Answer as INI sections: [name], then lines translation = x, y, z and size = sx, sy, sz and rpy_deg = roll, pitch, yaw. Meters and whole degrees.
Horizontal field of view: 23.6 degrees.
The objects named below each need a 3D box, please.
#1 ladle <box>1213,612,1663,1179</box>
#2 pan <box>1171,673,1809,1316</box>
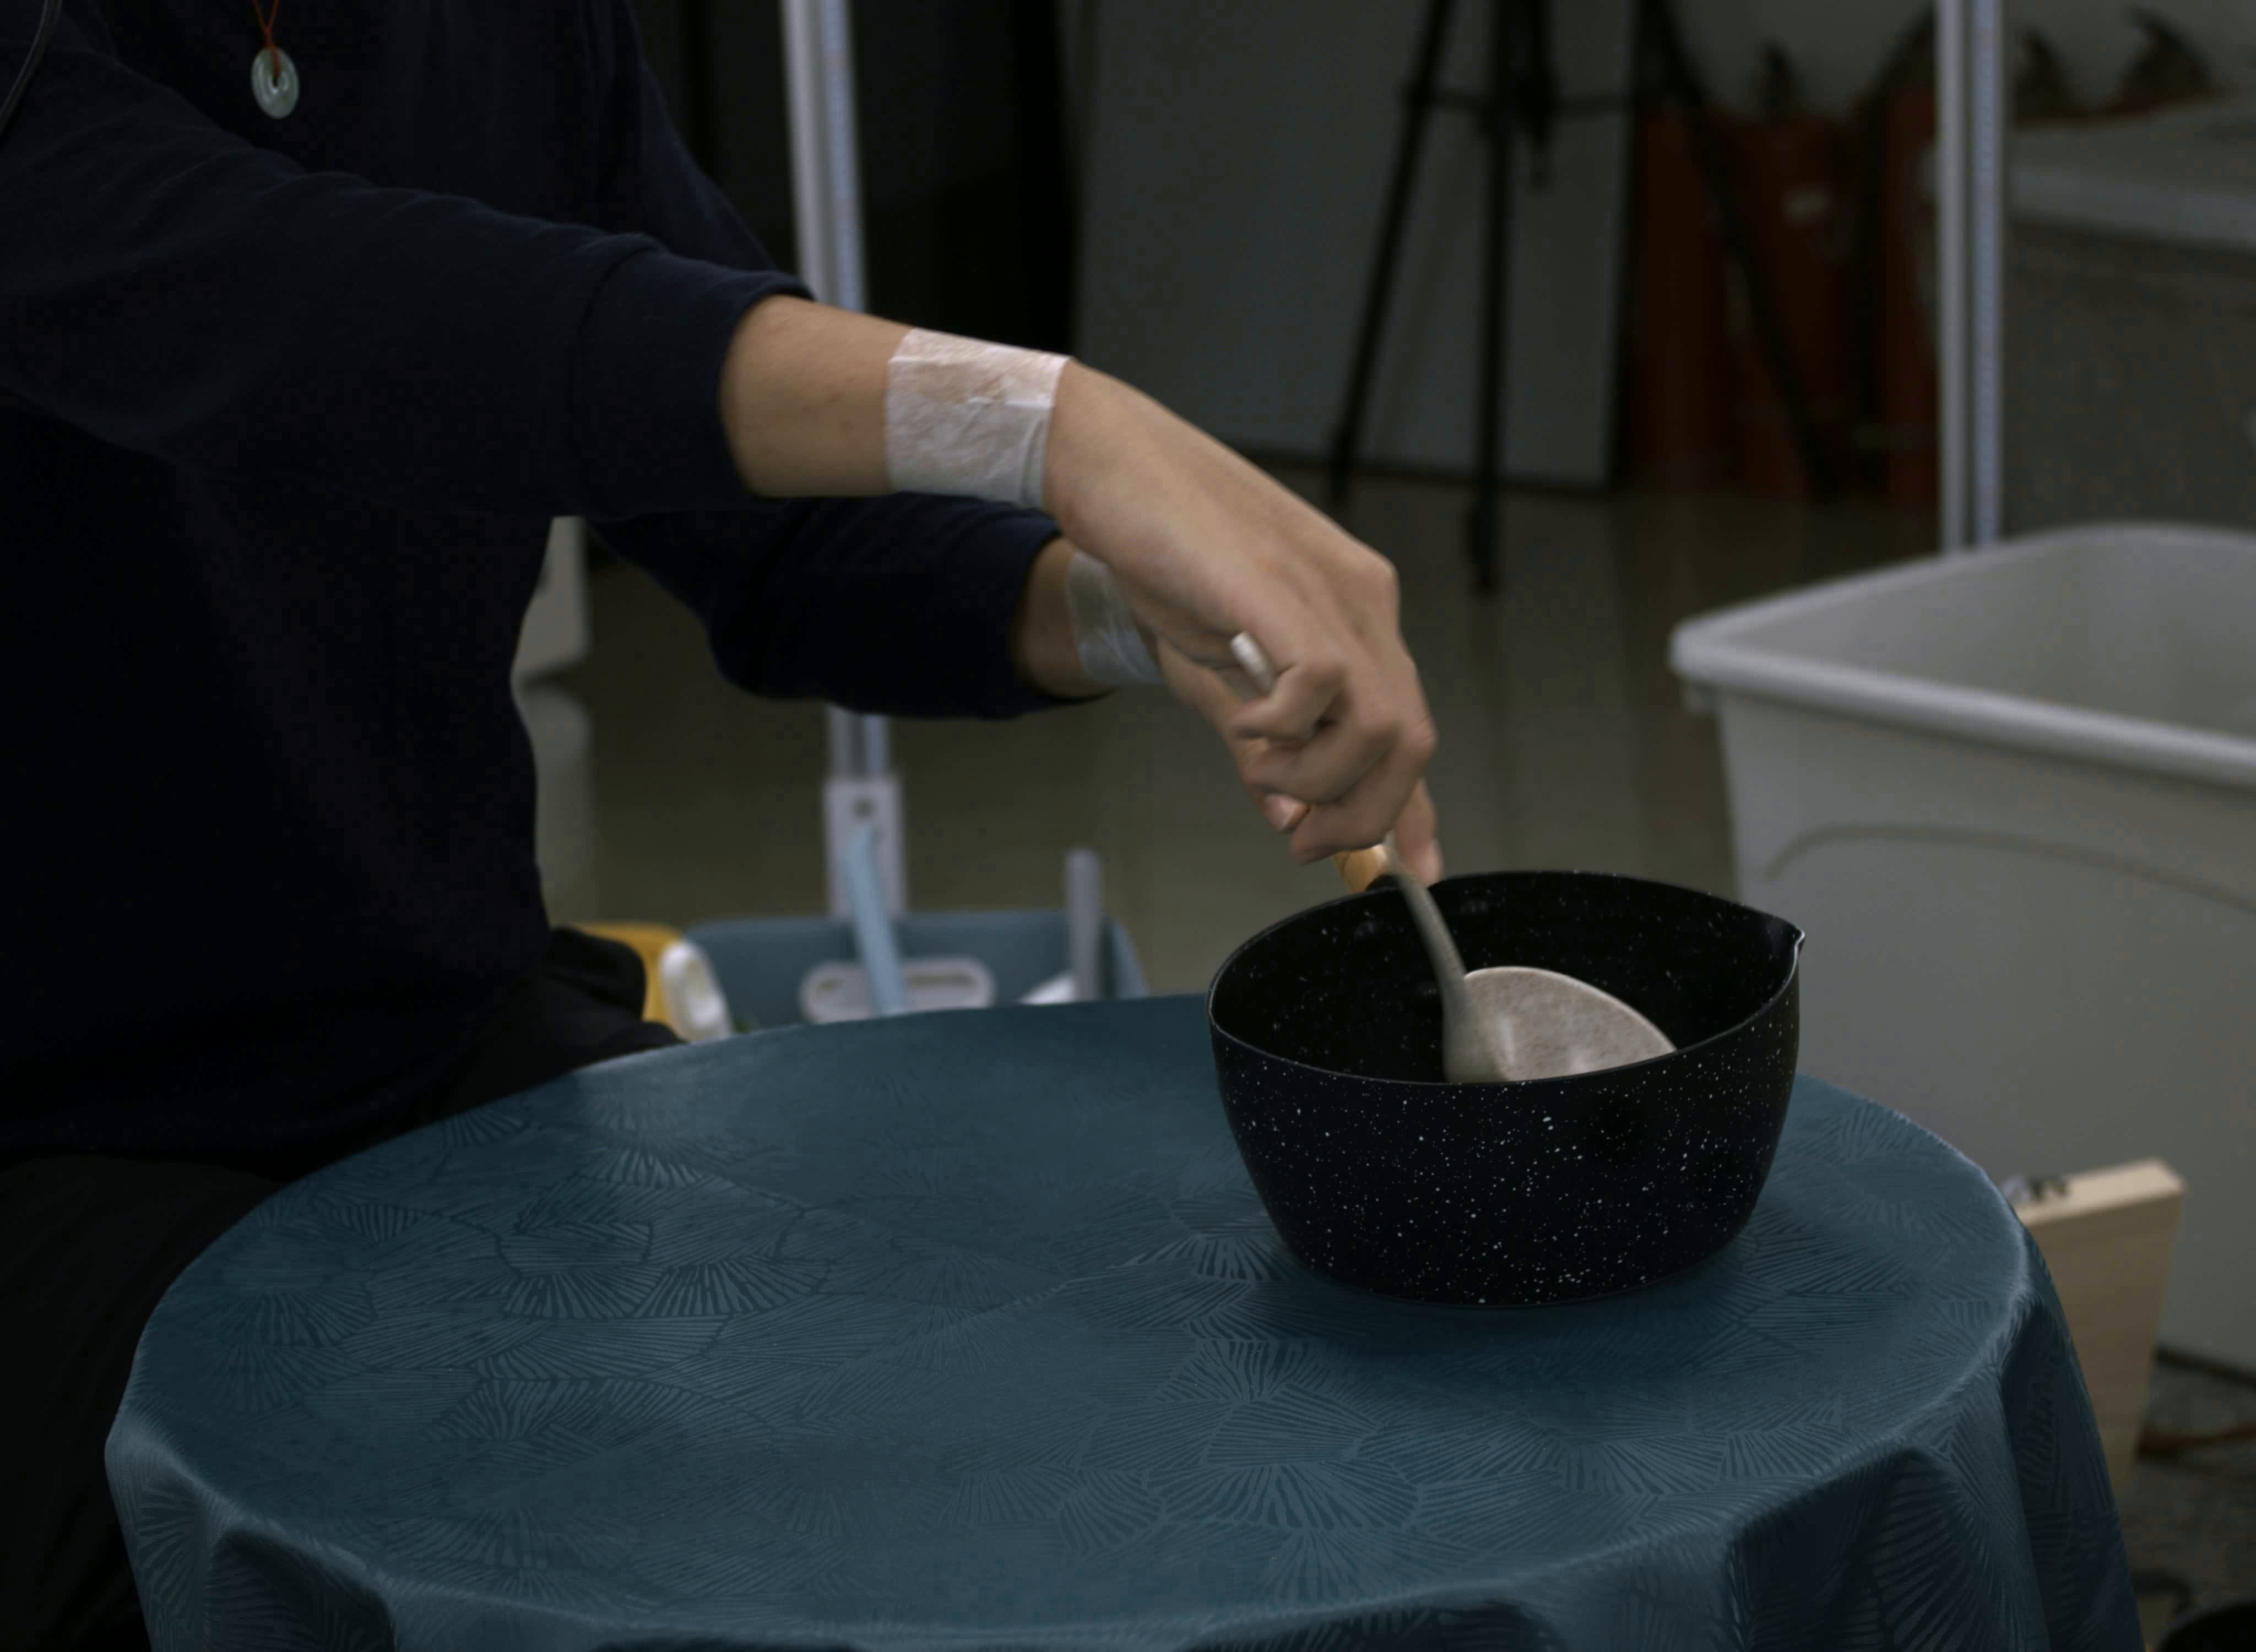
[ladle]
translation = 0.096, 0.010, 1.556
size = 0.069, 0.273, 0.090
rpy_deg = -26, 49, 2
[pan]
translation = 0.098, 0.049, 1.758
size = 0.204, 0.109, 0.345
rpy_deg = -11, 20, -12
